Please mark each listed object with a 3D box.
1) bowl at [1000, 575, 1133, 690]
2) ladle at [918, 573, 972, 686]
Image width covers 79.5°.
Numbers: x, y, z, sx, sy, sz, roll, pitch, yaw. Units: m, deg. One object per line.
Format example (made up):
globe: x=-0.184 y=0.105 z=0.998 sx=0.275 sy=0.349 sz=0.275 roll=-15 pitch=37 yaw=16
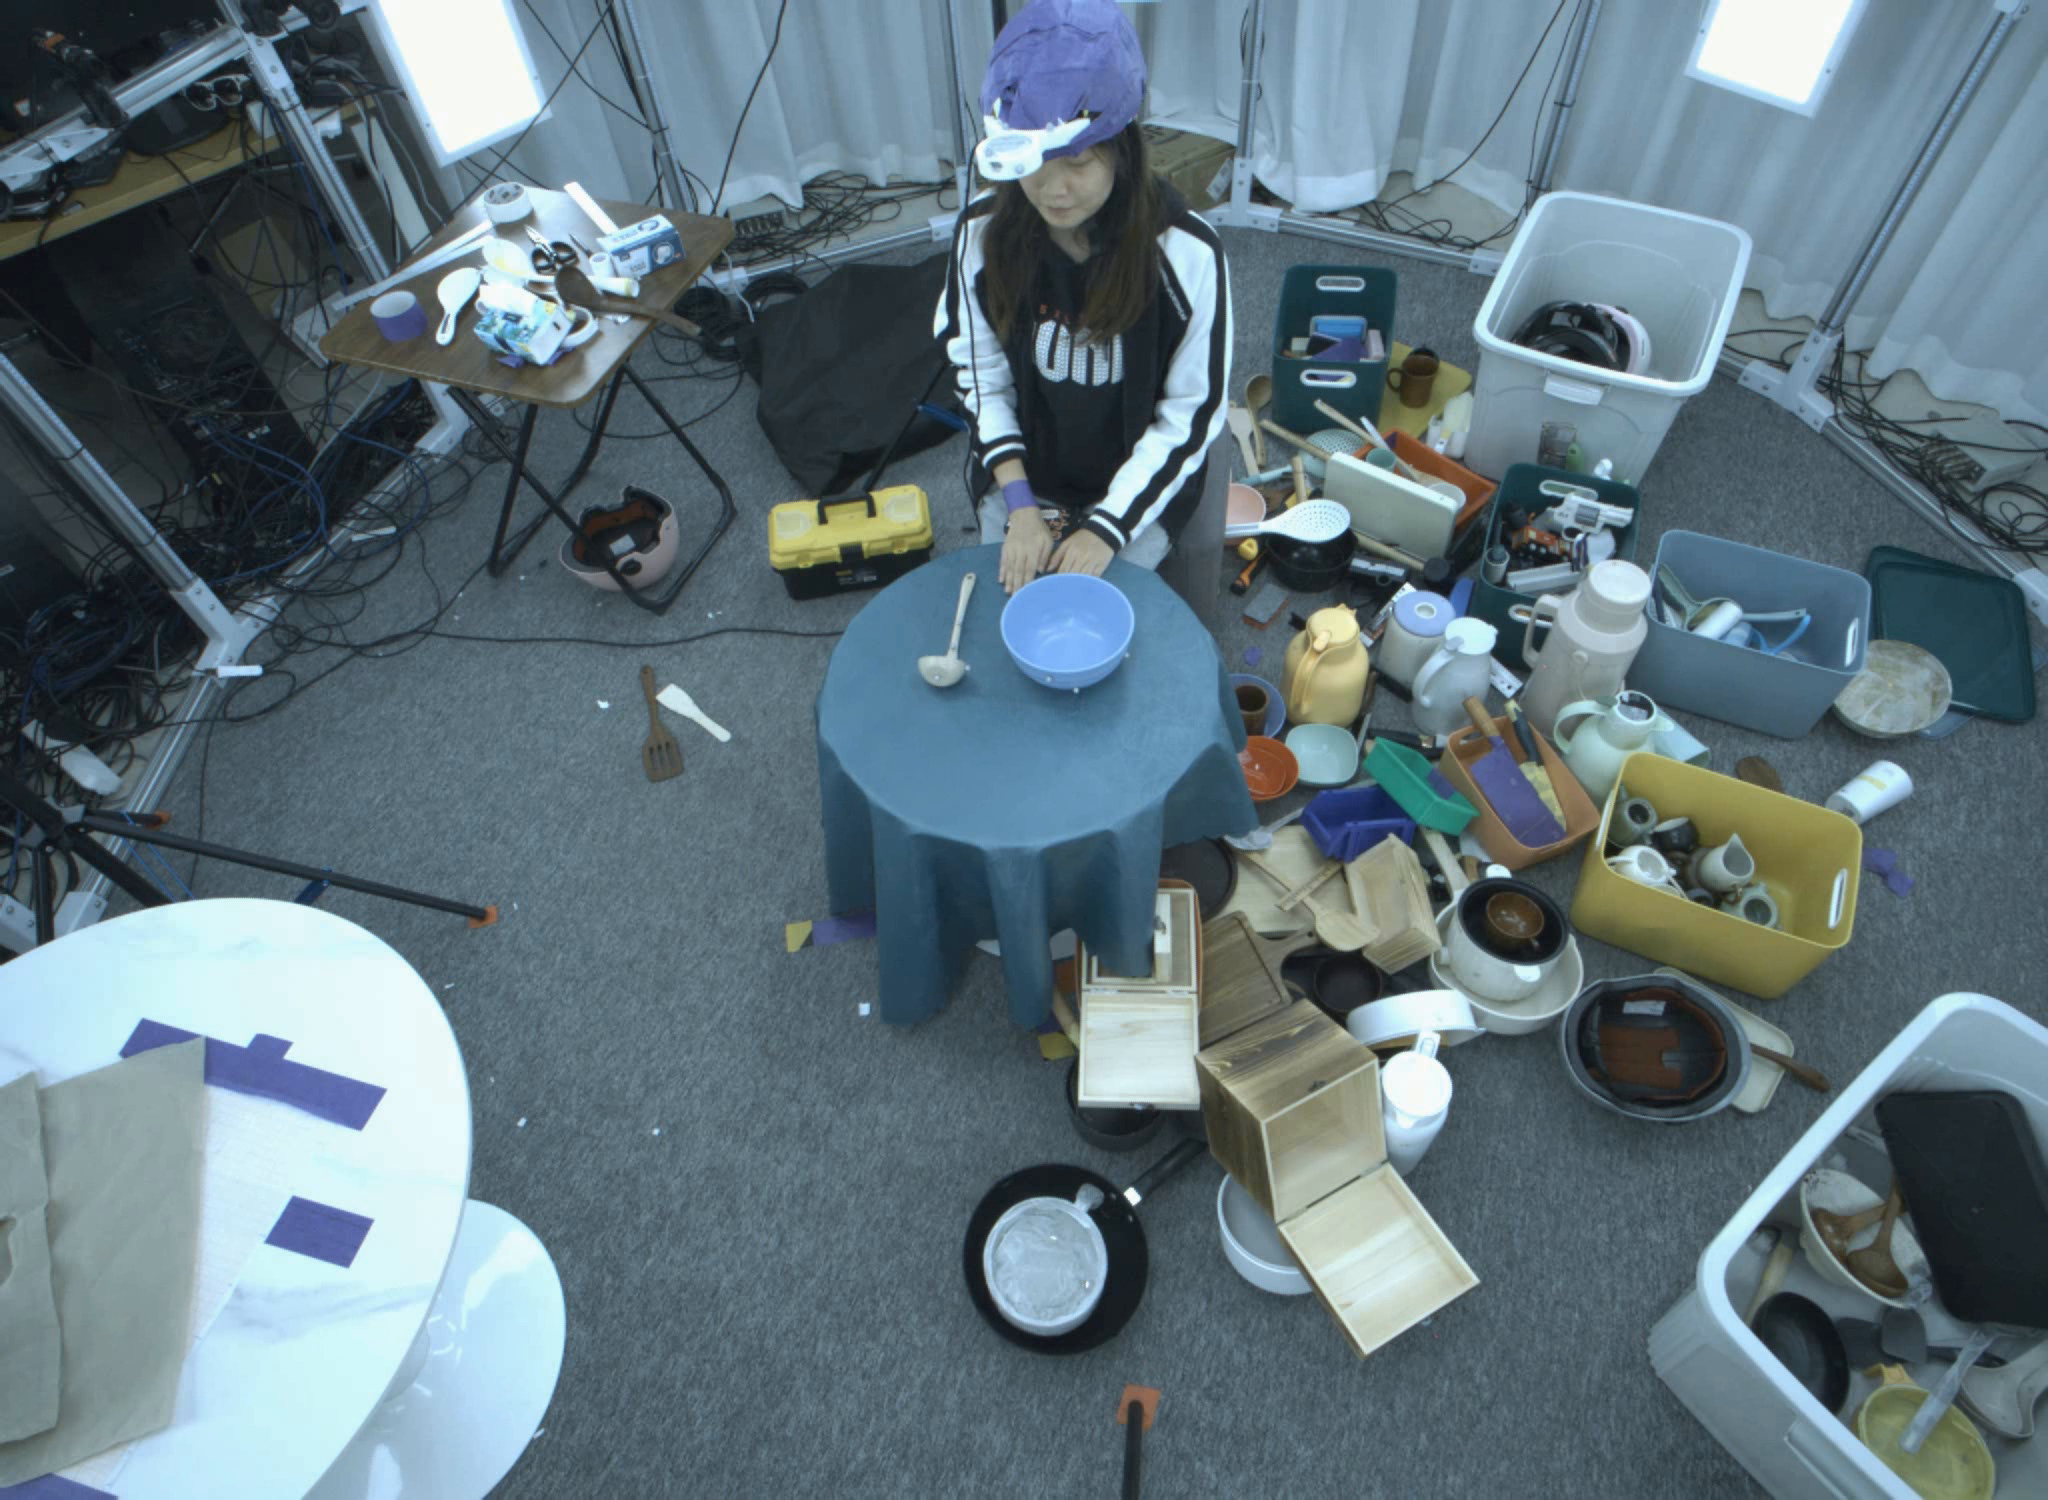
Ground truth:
bowl: x=0.066 y=-0.161 z=1.845 sx=0.196 sy=0.096 sz=0.194 roll=-1 pitch=54 yaw=3
ladle: x=-0.112 y=-0.208 z=1.894 sx=0.071 sy=0.074 sz=0.252 roll=0 pitch=54 yaw=11
